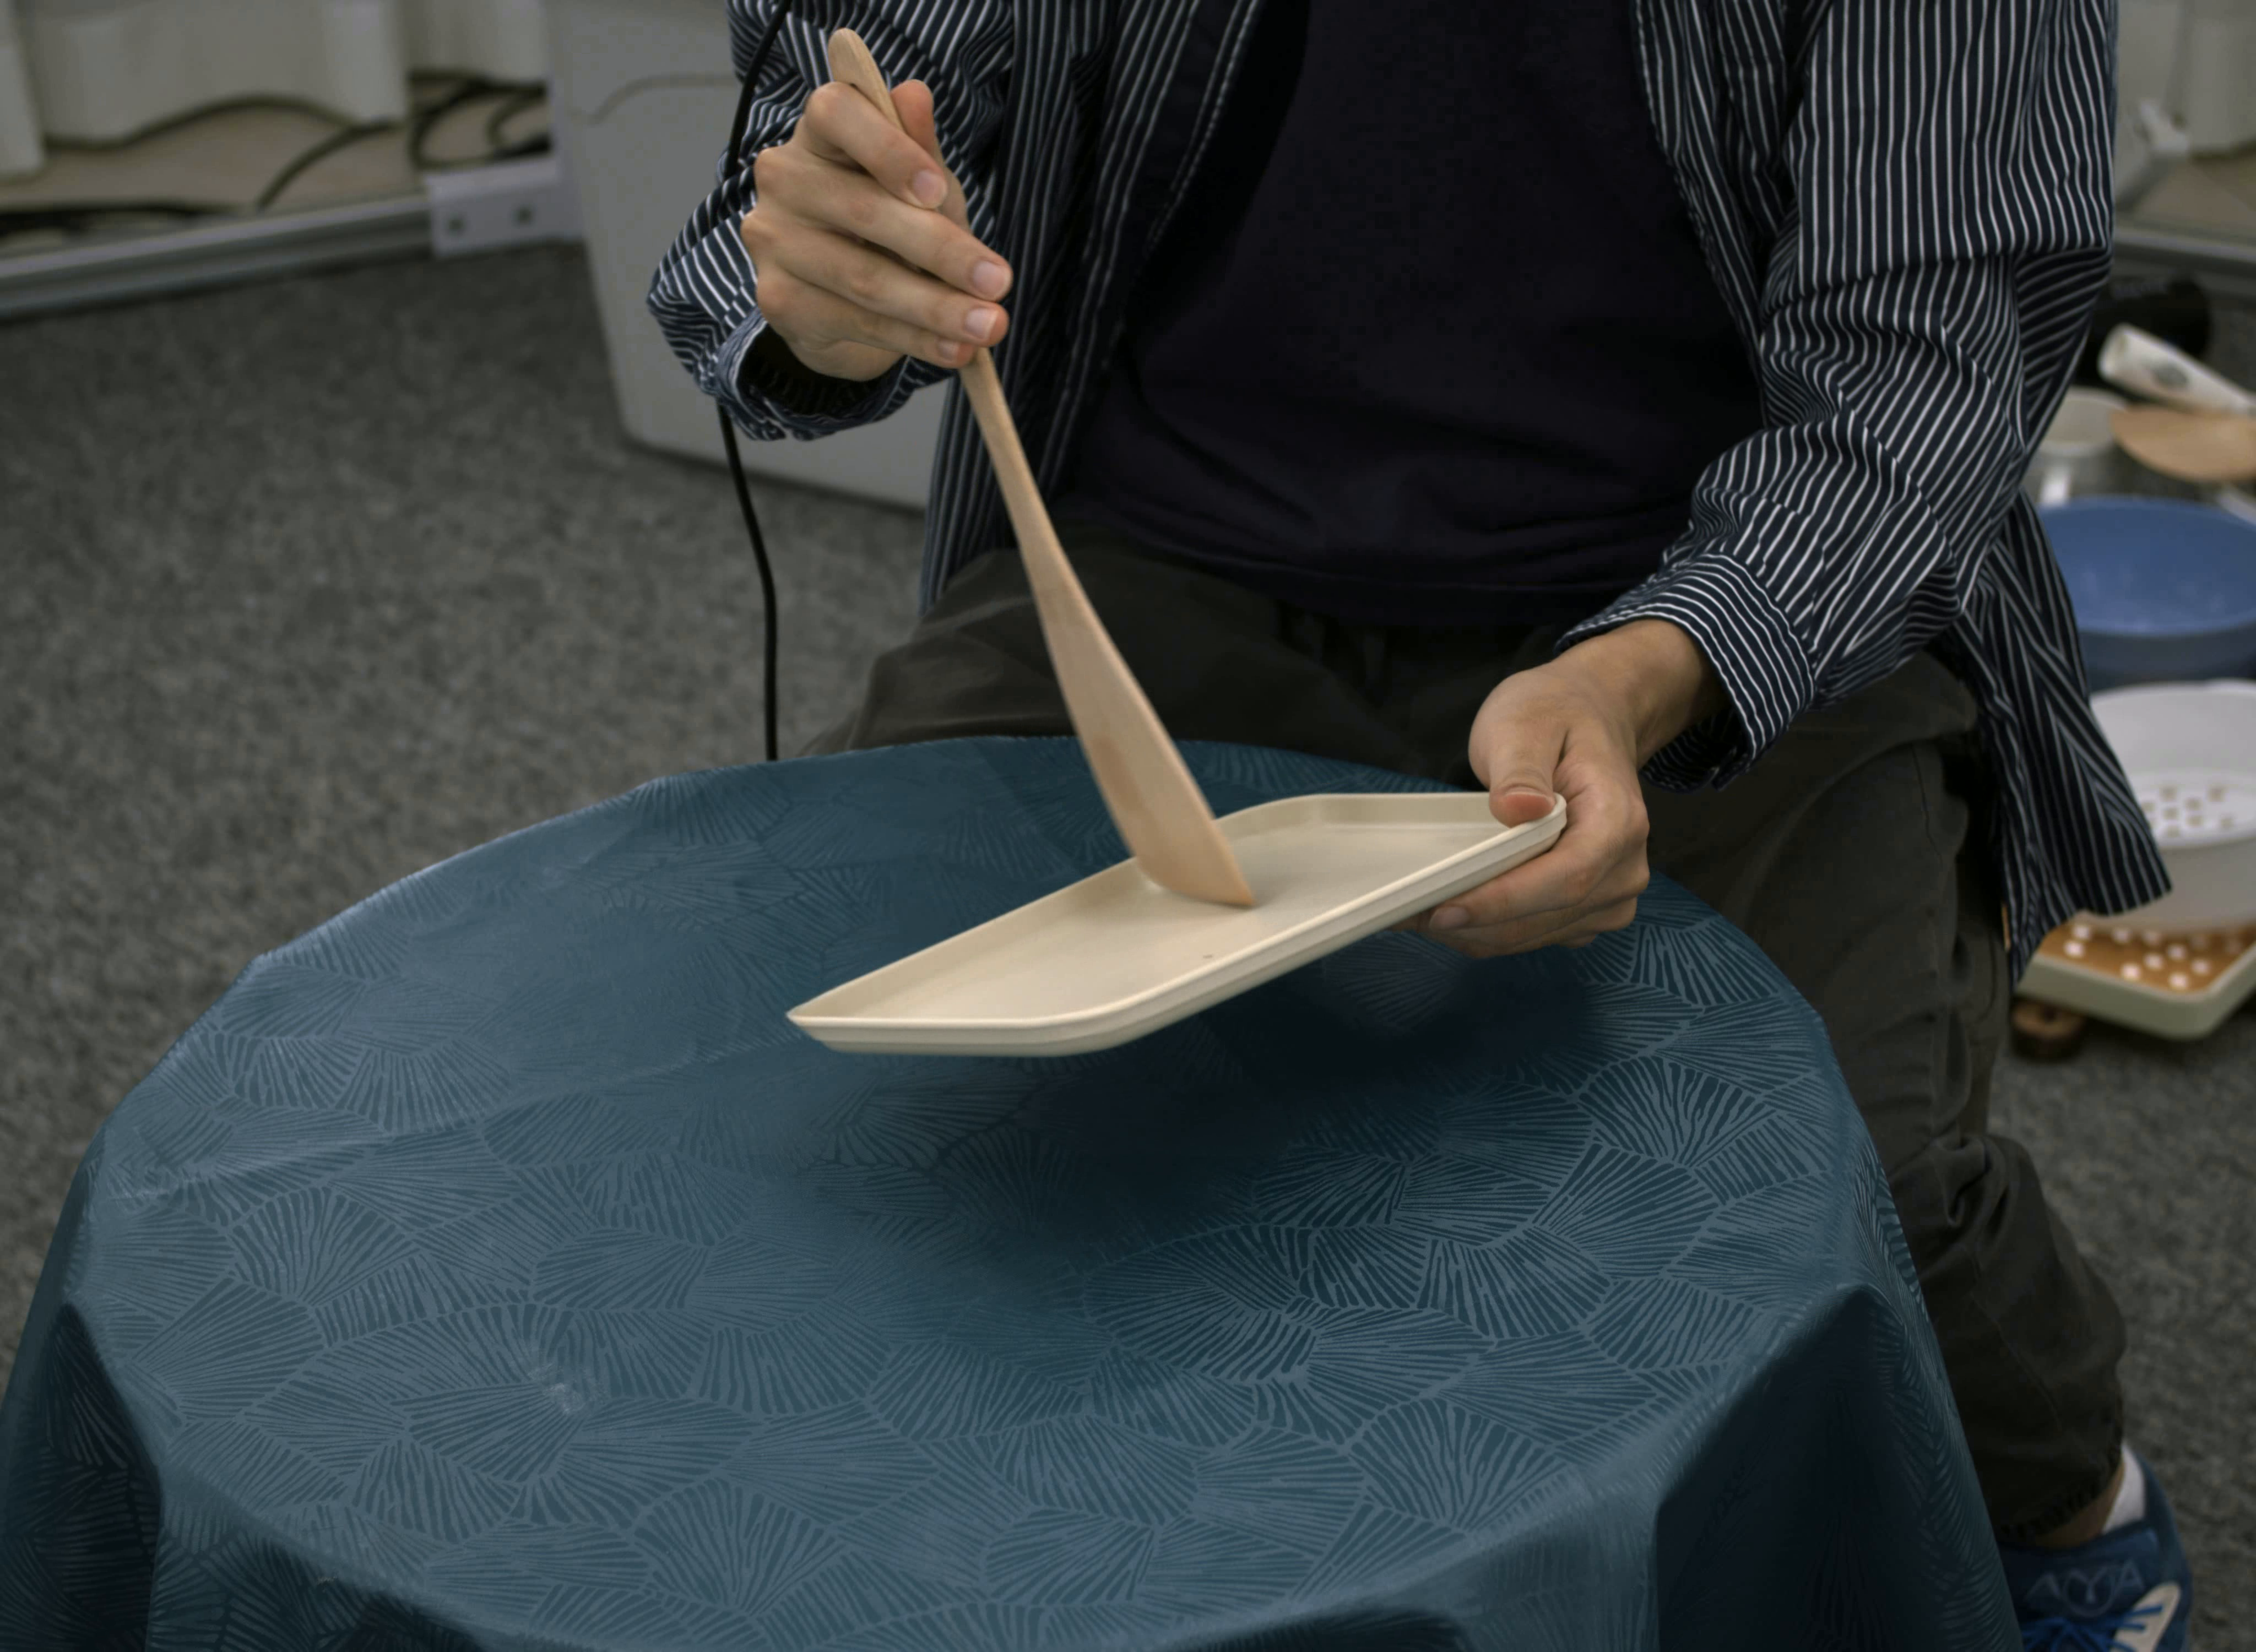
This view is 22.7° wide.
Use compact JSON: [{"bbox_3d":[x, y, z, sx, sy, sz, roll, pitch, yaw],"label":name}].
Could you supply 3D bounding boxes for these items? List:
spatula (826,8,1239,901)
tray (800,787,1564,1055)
[{"bbox_3d":[-0.038,-0.123,1.920,0.016,0.328,0.079,-22,4,-23],"label":"spatula"},{"bbox_3d":[0.020,0.033,1.876,0.242,0.017,0.169,-23,13,-38],"label":"tray"}]
